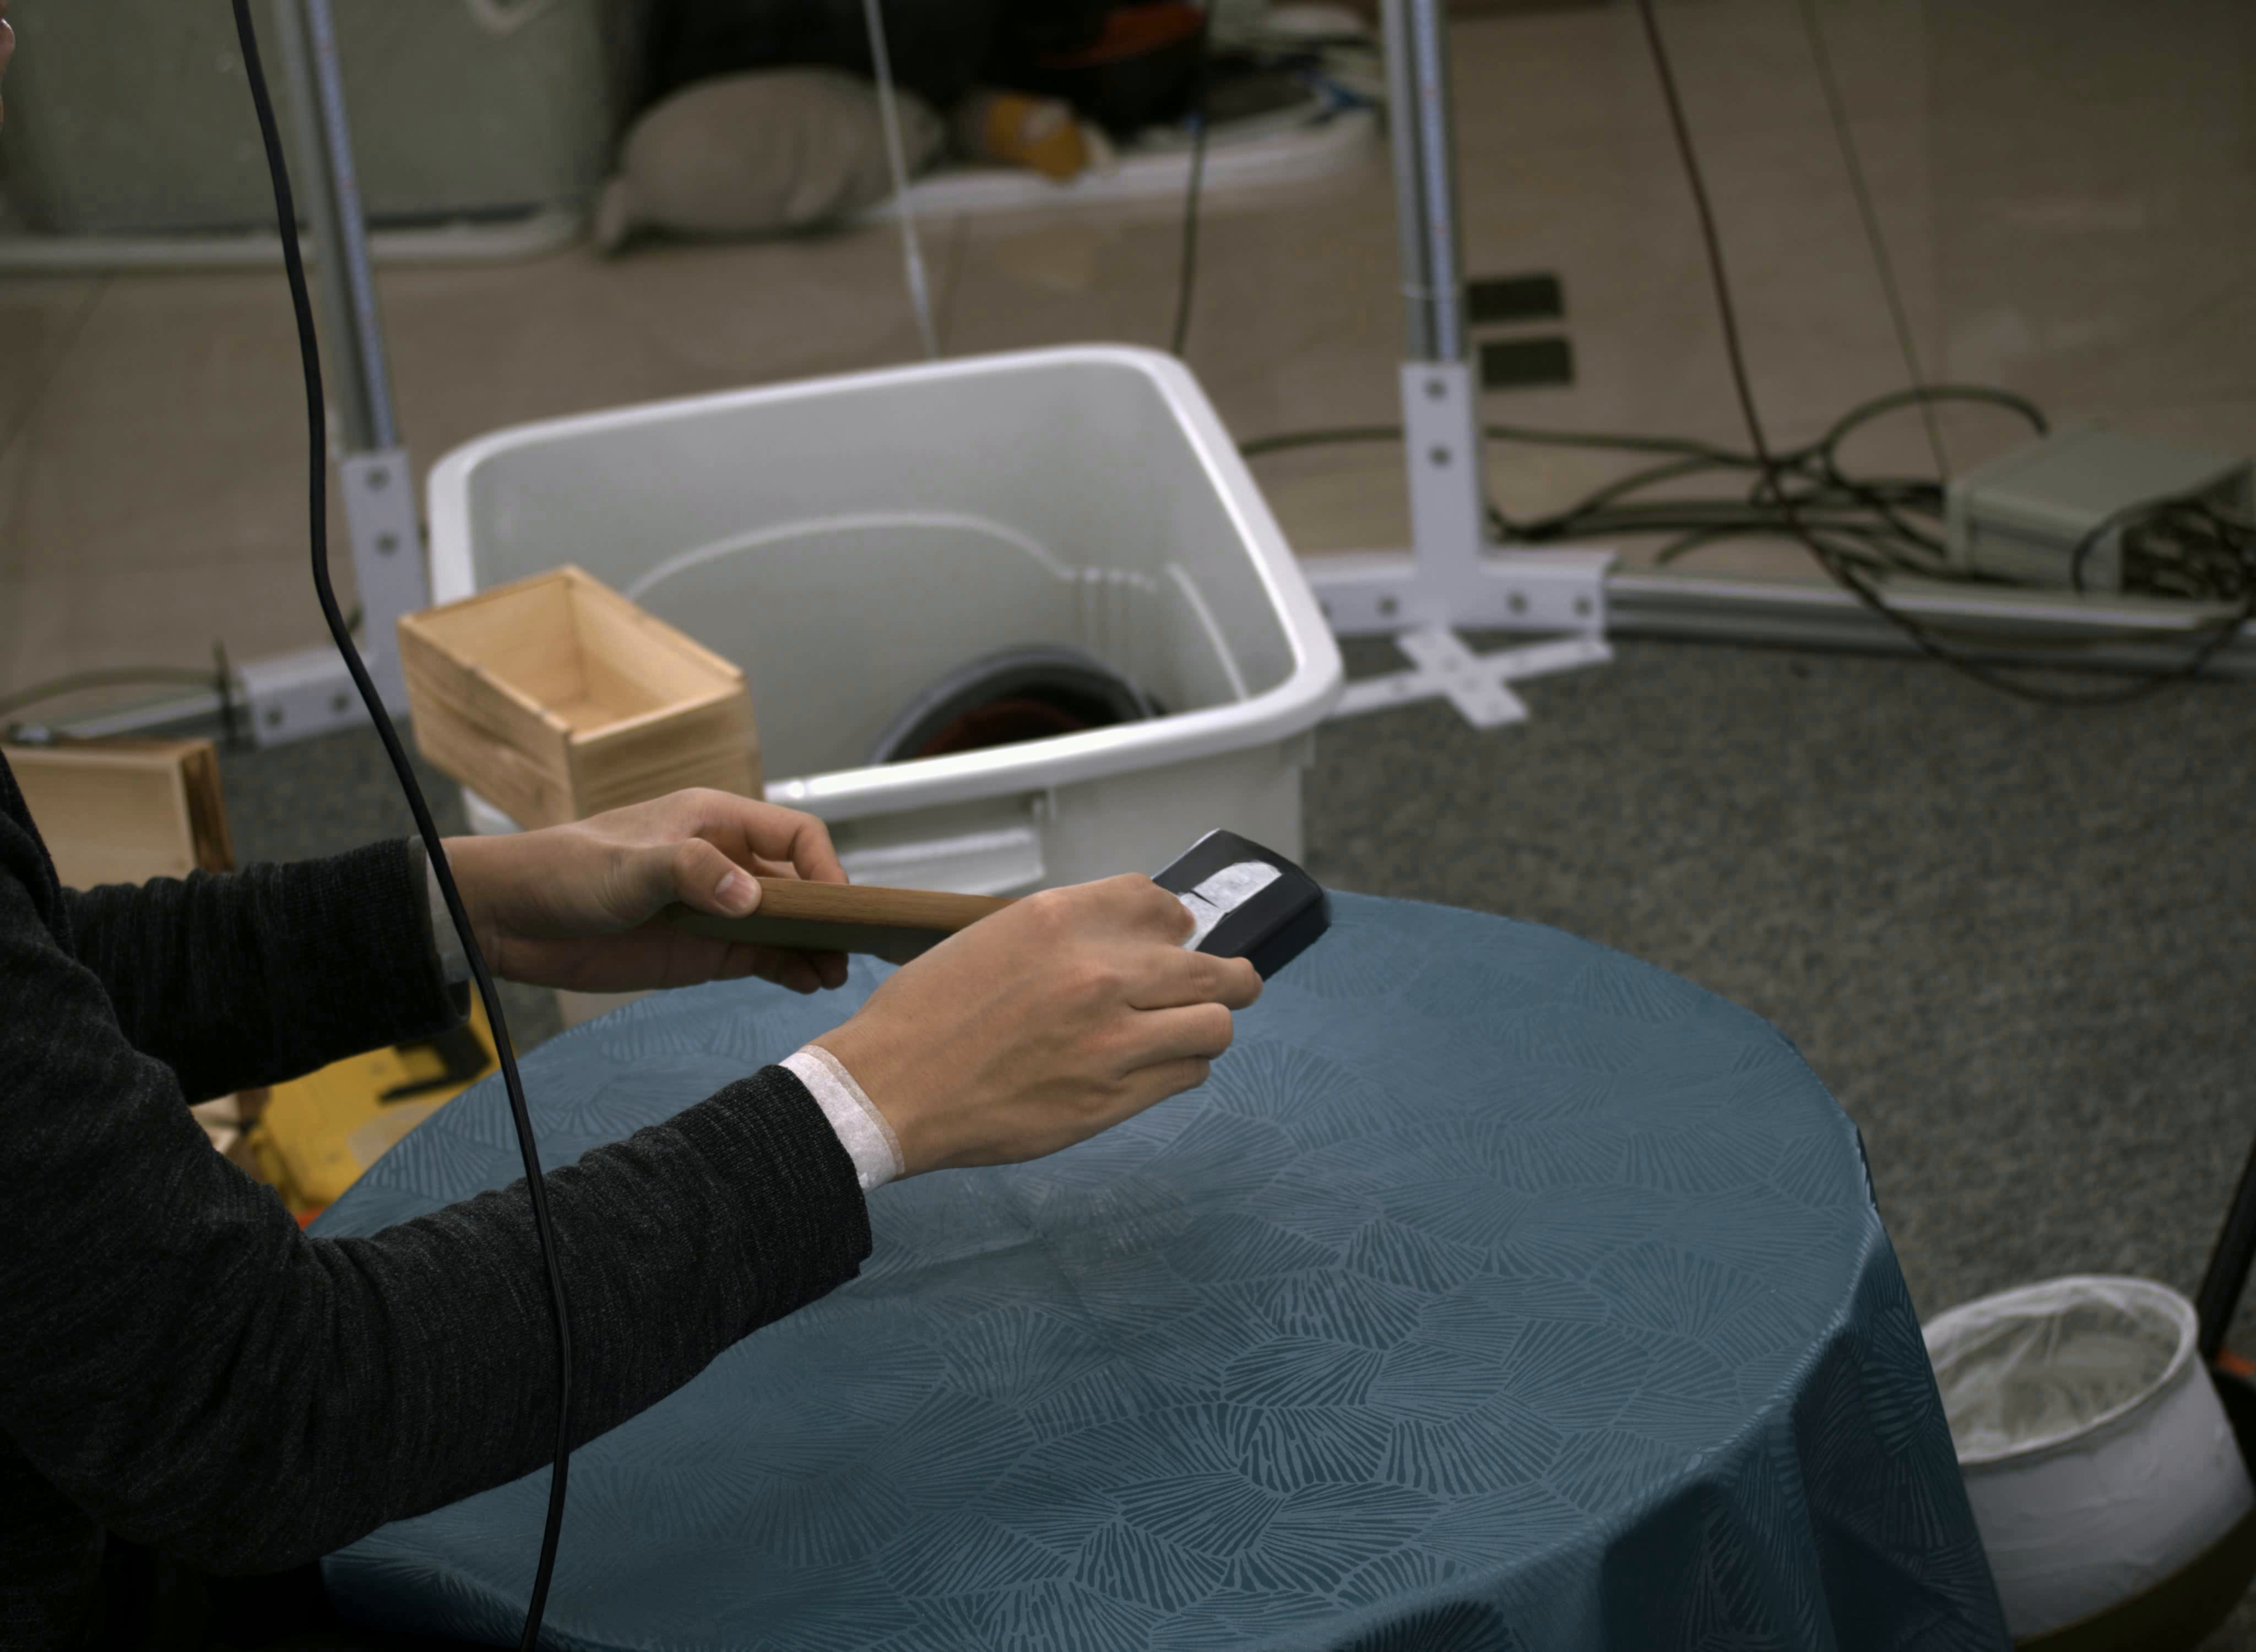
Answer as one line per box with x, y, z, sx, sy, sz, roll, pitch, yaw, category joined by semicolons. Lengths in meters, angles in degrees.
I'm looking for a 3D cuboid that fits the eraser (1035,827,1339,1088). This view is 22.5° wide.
0.021;0.045;2.014;0.053;0.031;0.124;28;40;20;eraser

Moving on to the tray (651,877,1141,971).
-0.062;0.039;2.104;0.231;0.020;0.102;2;-11;3;tray
